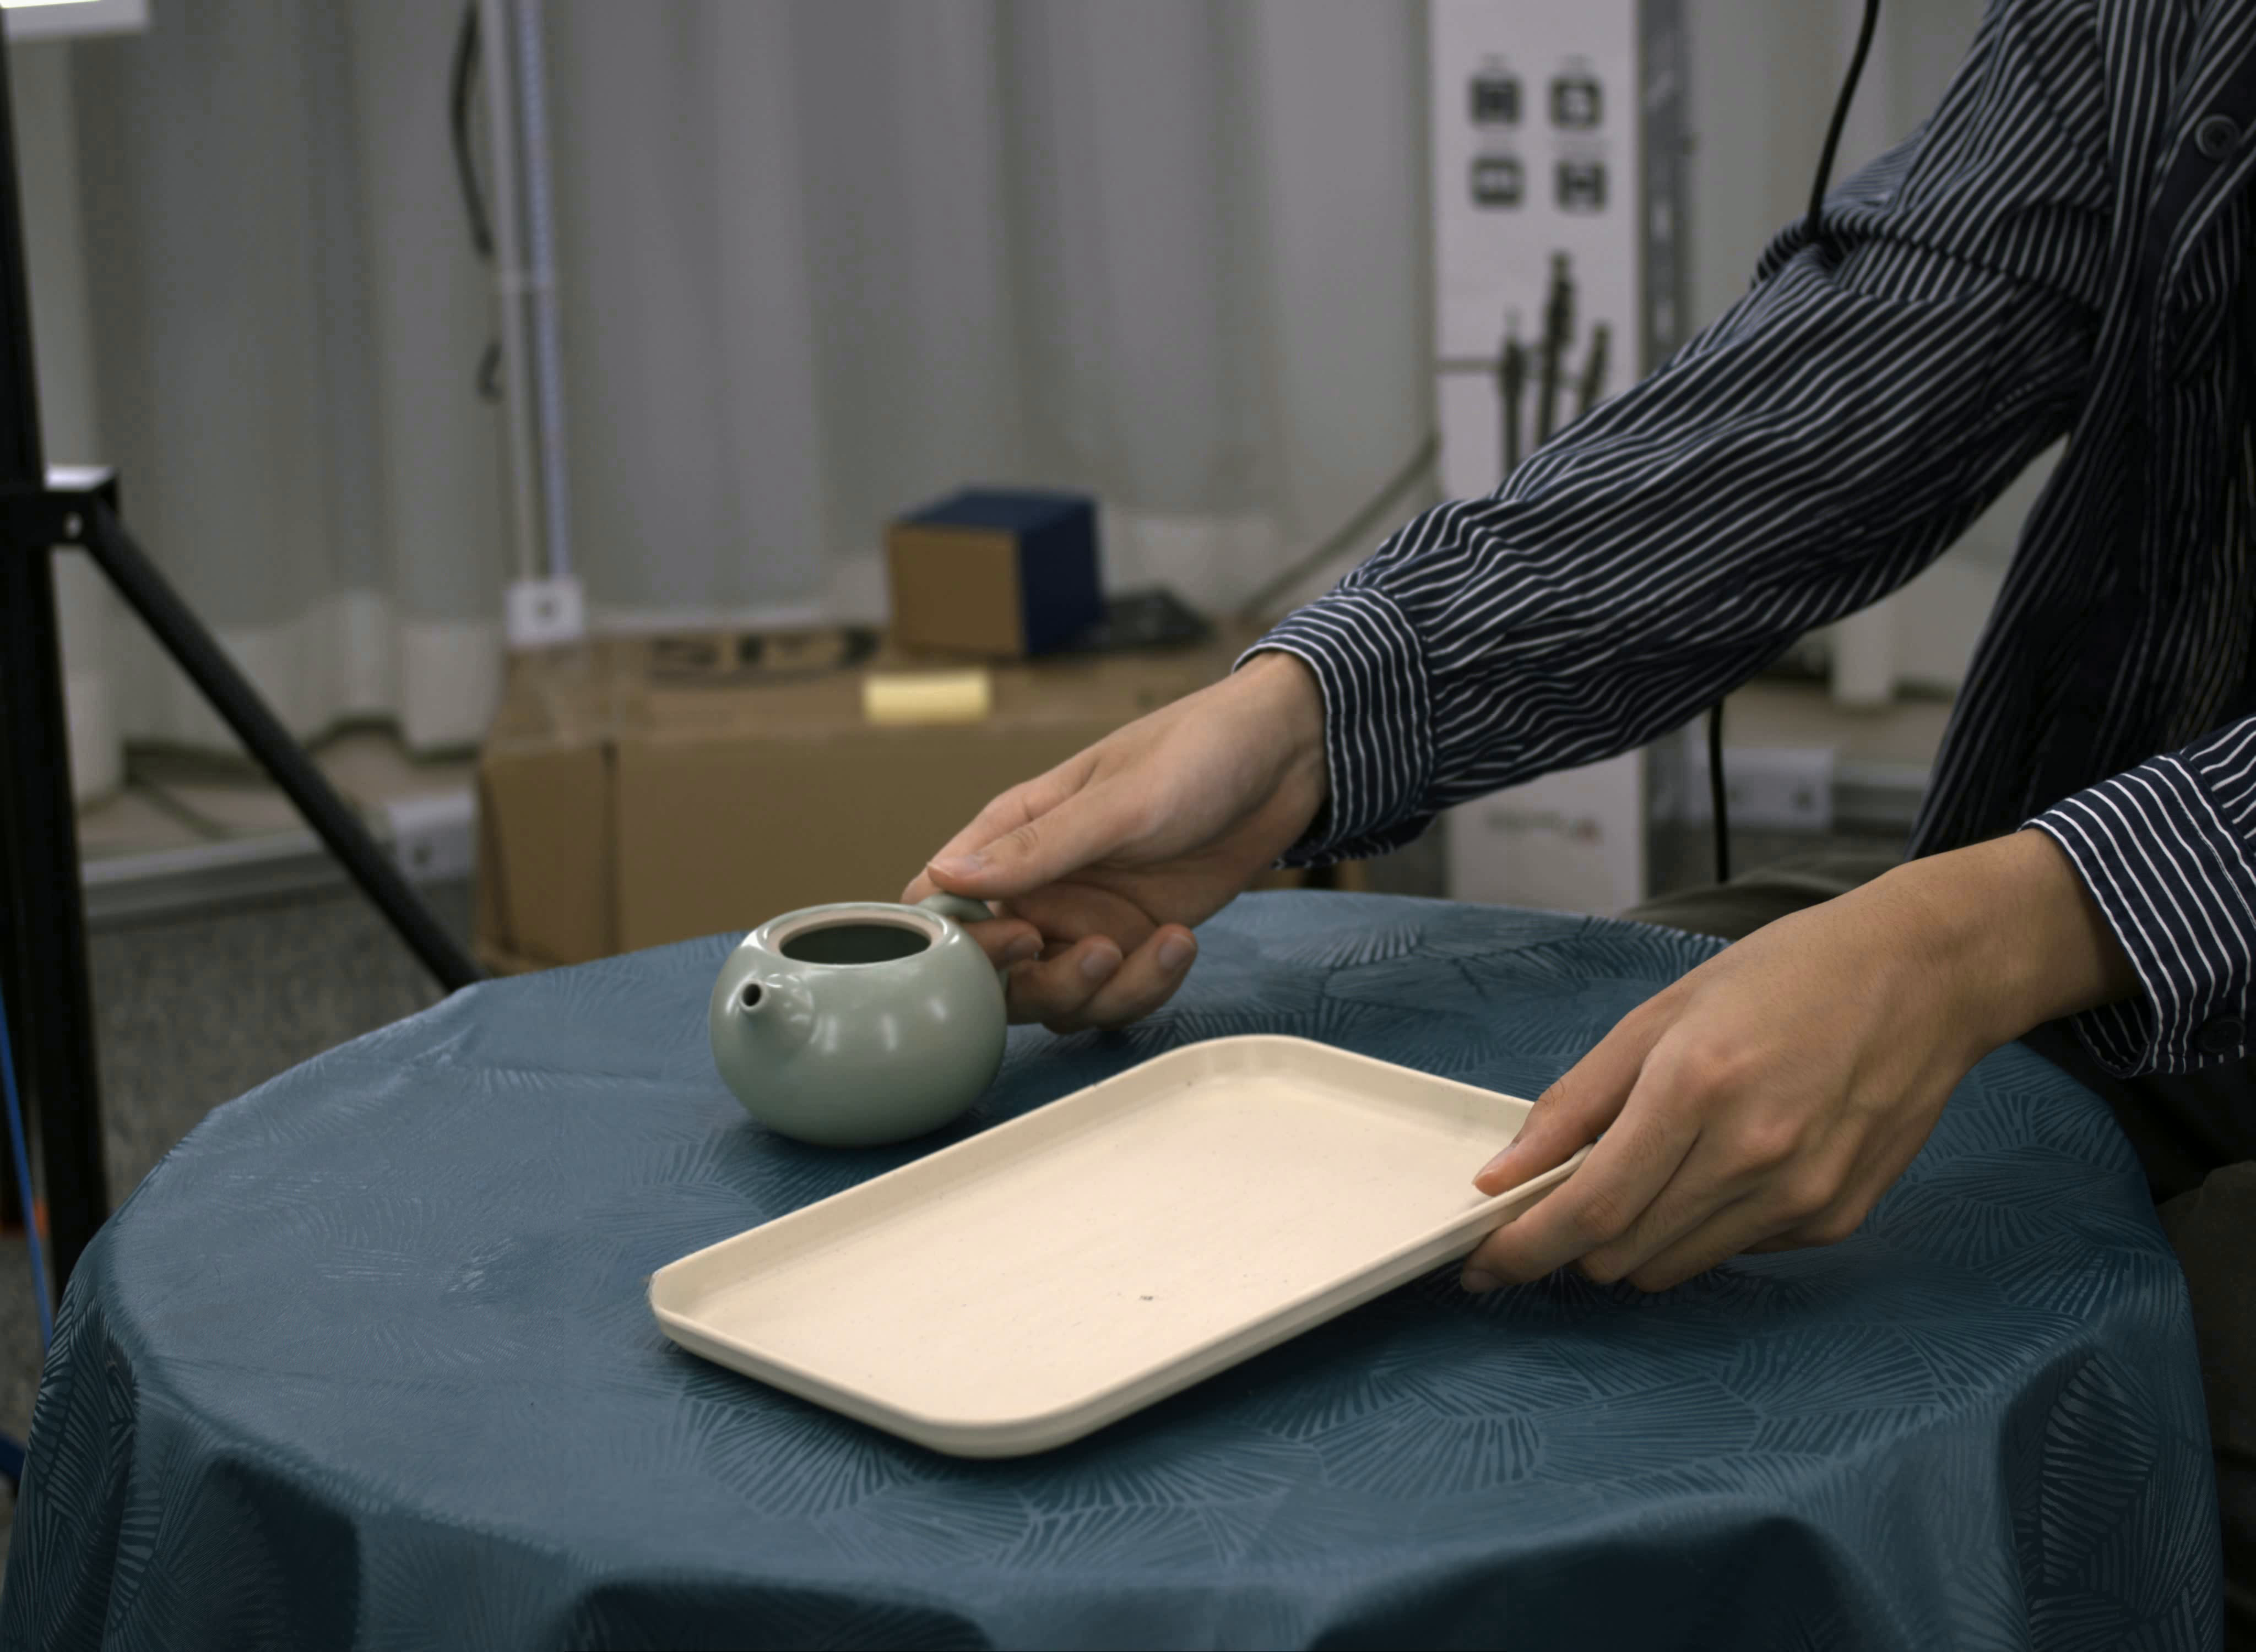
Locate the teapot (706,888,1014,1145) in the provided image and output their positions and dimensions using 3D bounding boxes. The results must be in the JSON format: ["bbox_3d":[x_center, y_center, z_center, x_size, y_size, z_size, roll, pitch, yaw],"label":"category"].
[{"bbox_3d":[-0.077,0.058,1.637,0.093,0.061,0.126,10,21,39],"label":"teapot"}]

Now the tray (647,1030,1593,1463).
[{"bbox_3d":[0.000,0.114,1.470,0.234,0.017,0.175,-21,23,-35],"label":"tray"}]
